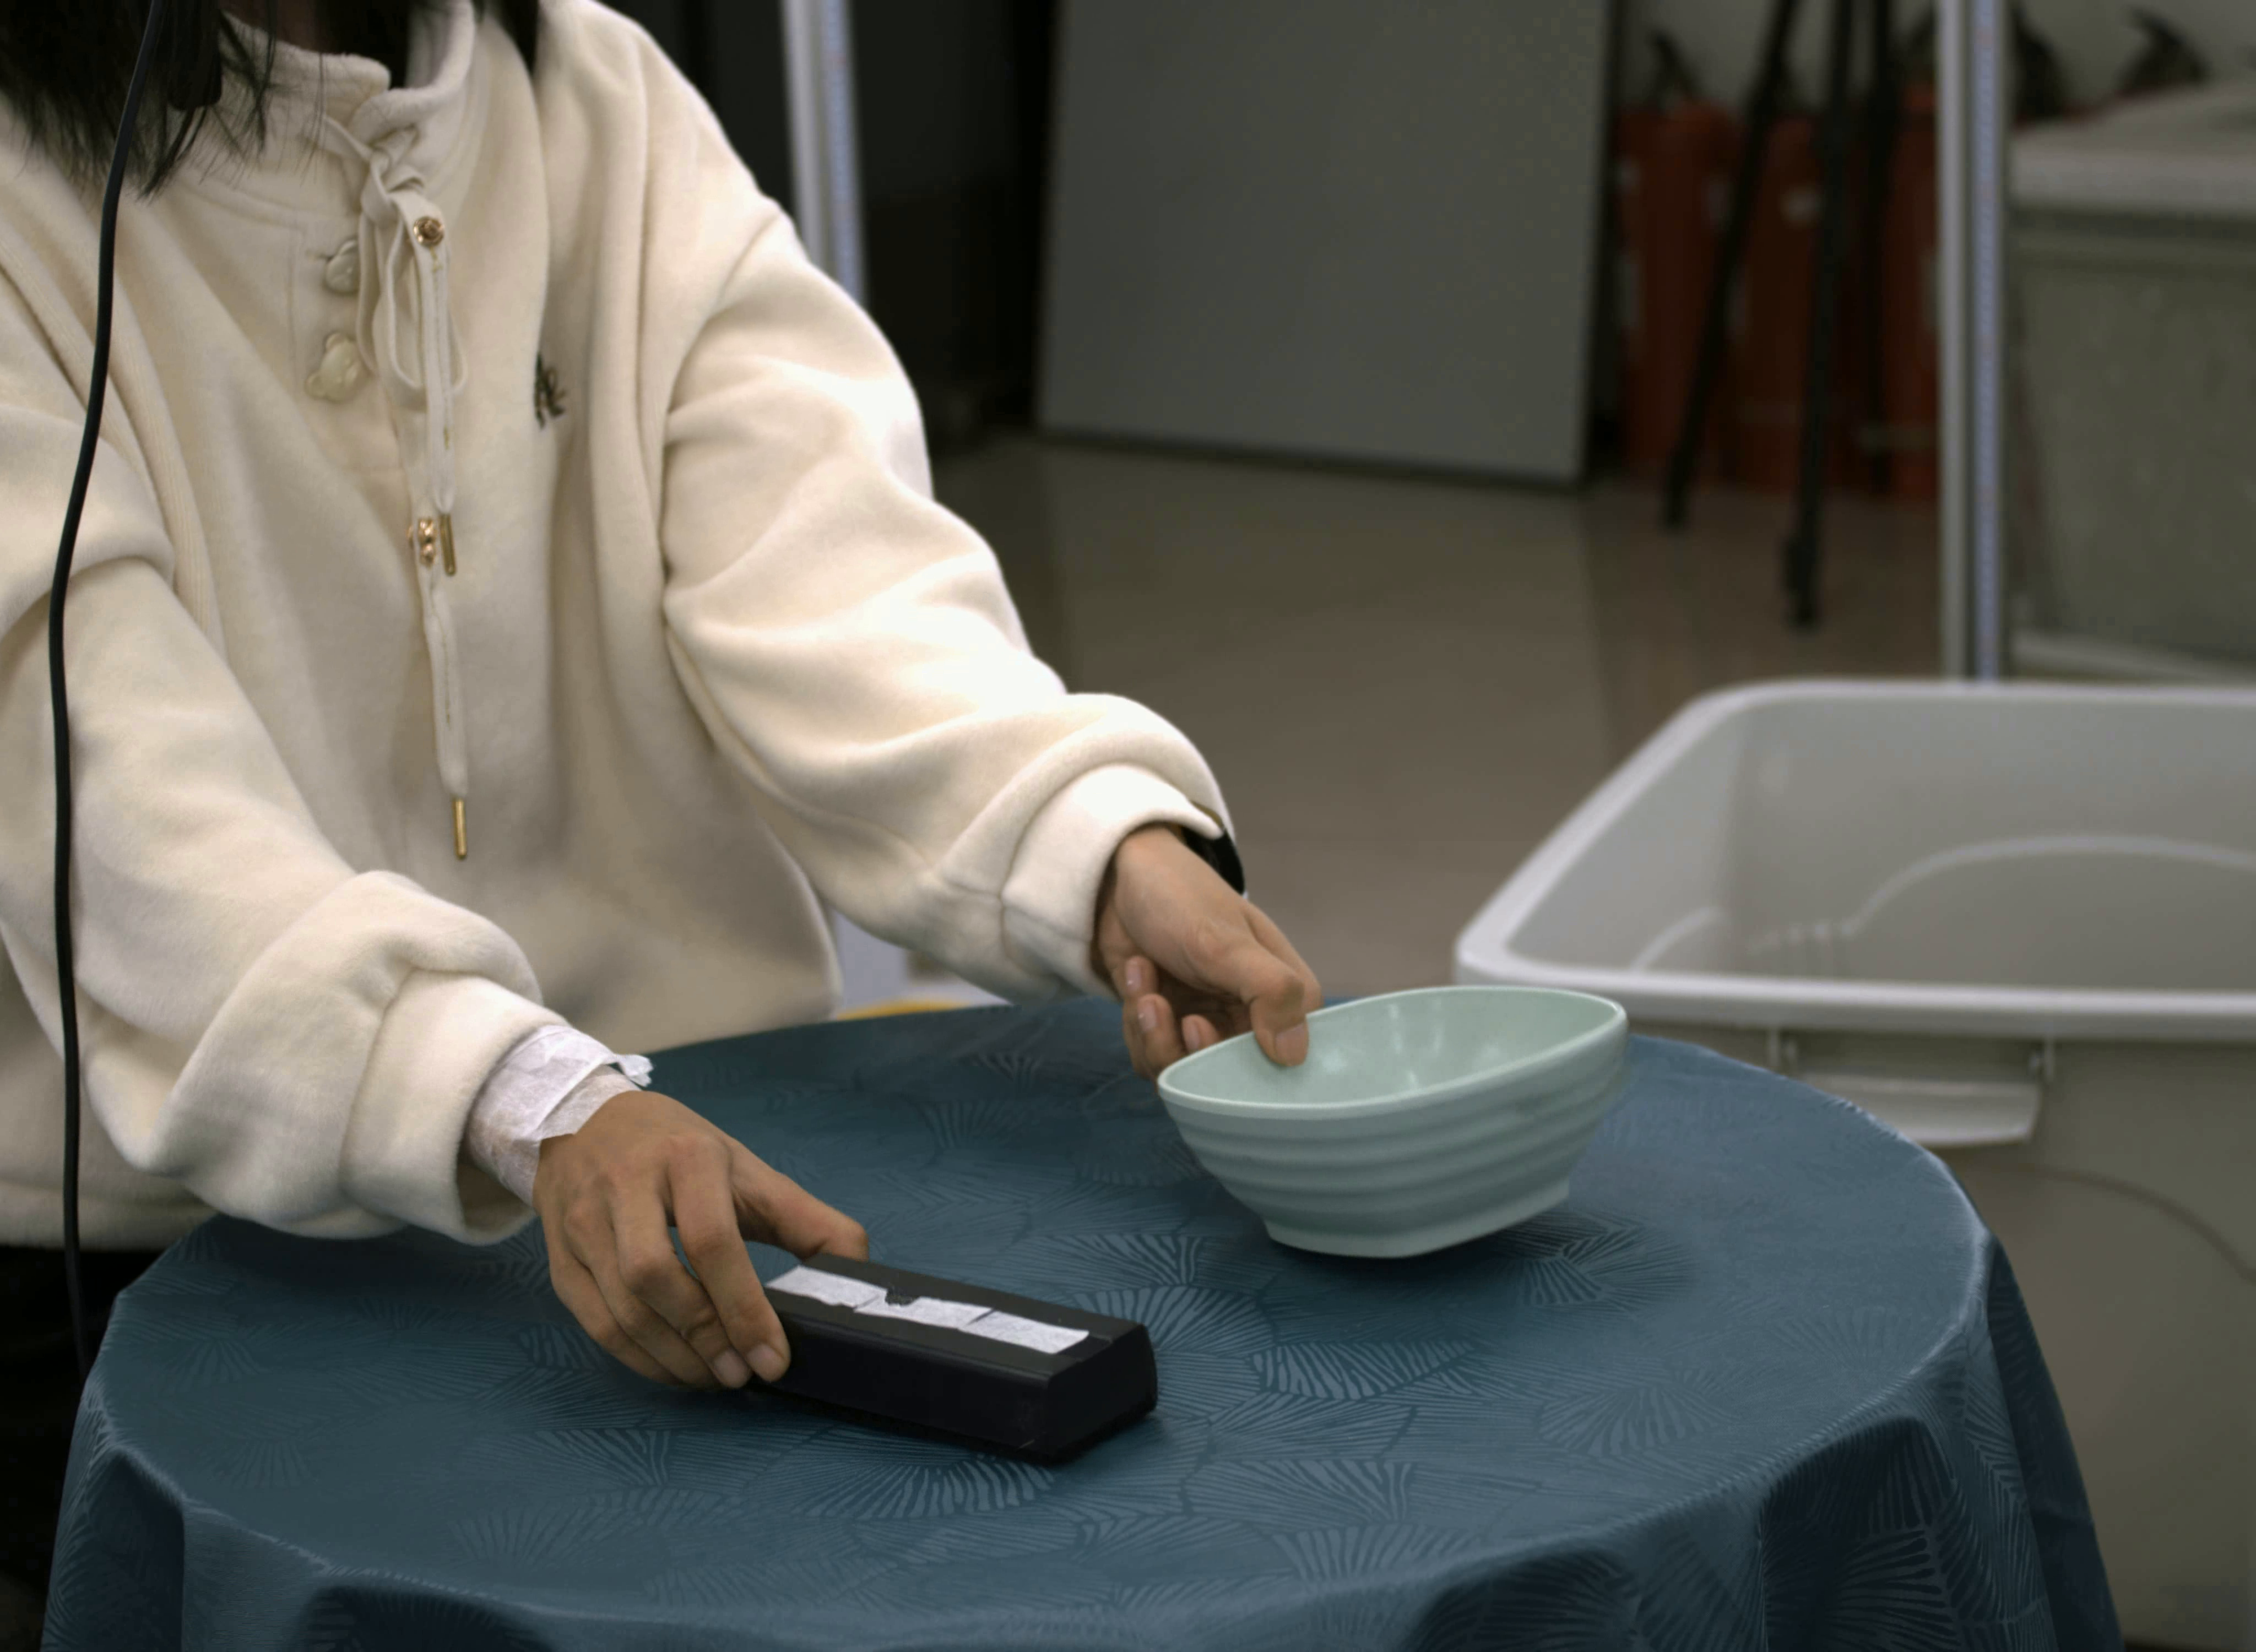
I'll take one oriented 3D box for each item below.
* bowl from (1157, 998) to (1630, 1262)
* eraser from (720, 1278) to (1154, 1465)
[{"bbox_3d":[0.086,0.098,1.697,0.149,0.059,0.151,-7,8,0],"label":"bowl"},{"bbox_3d":[-0.055,0.158,1.574,0.126,0.031,0.052,5,17,36],"label":"eraser"}]
